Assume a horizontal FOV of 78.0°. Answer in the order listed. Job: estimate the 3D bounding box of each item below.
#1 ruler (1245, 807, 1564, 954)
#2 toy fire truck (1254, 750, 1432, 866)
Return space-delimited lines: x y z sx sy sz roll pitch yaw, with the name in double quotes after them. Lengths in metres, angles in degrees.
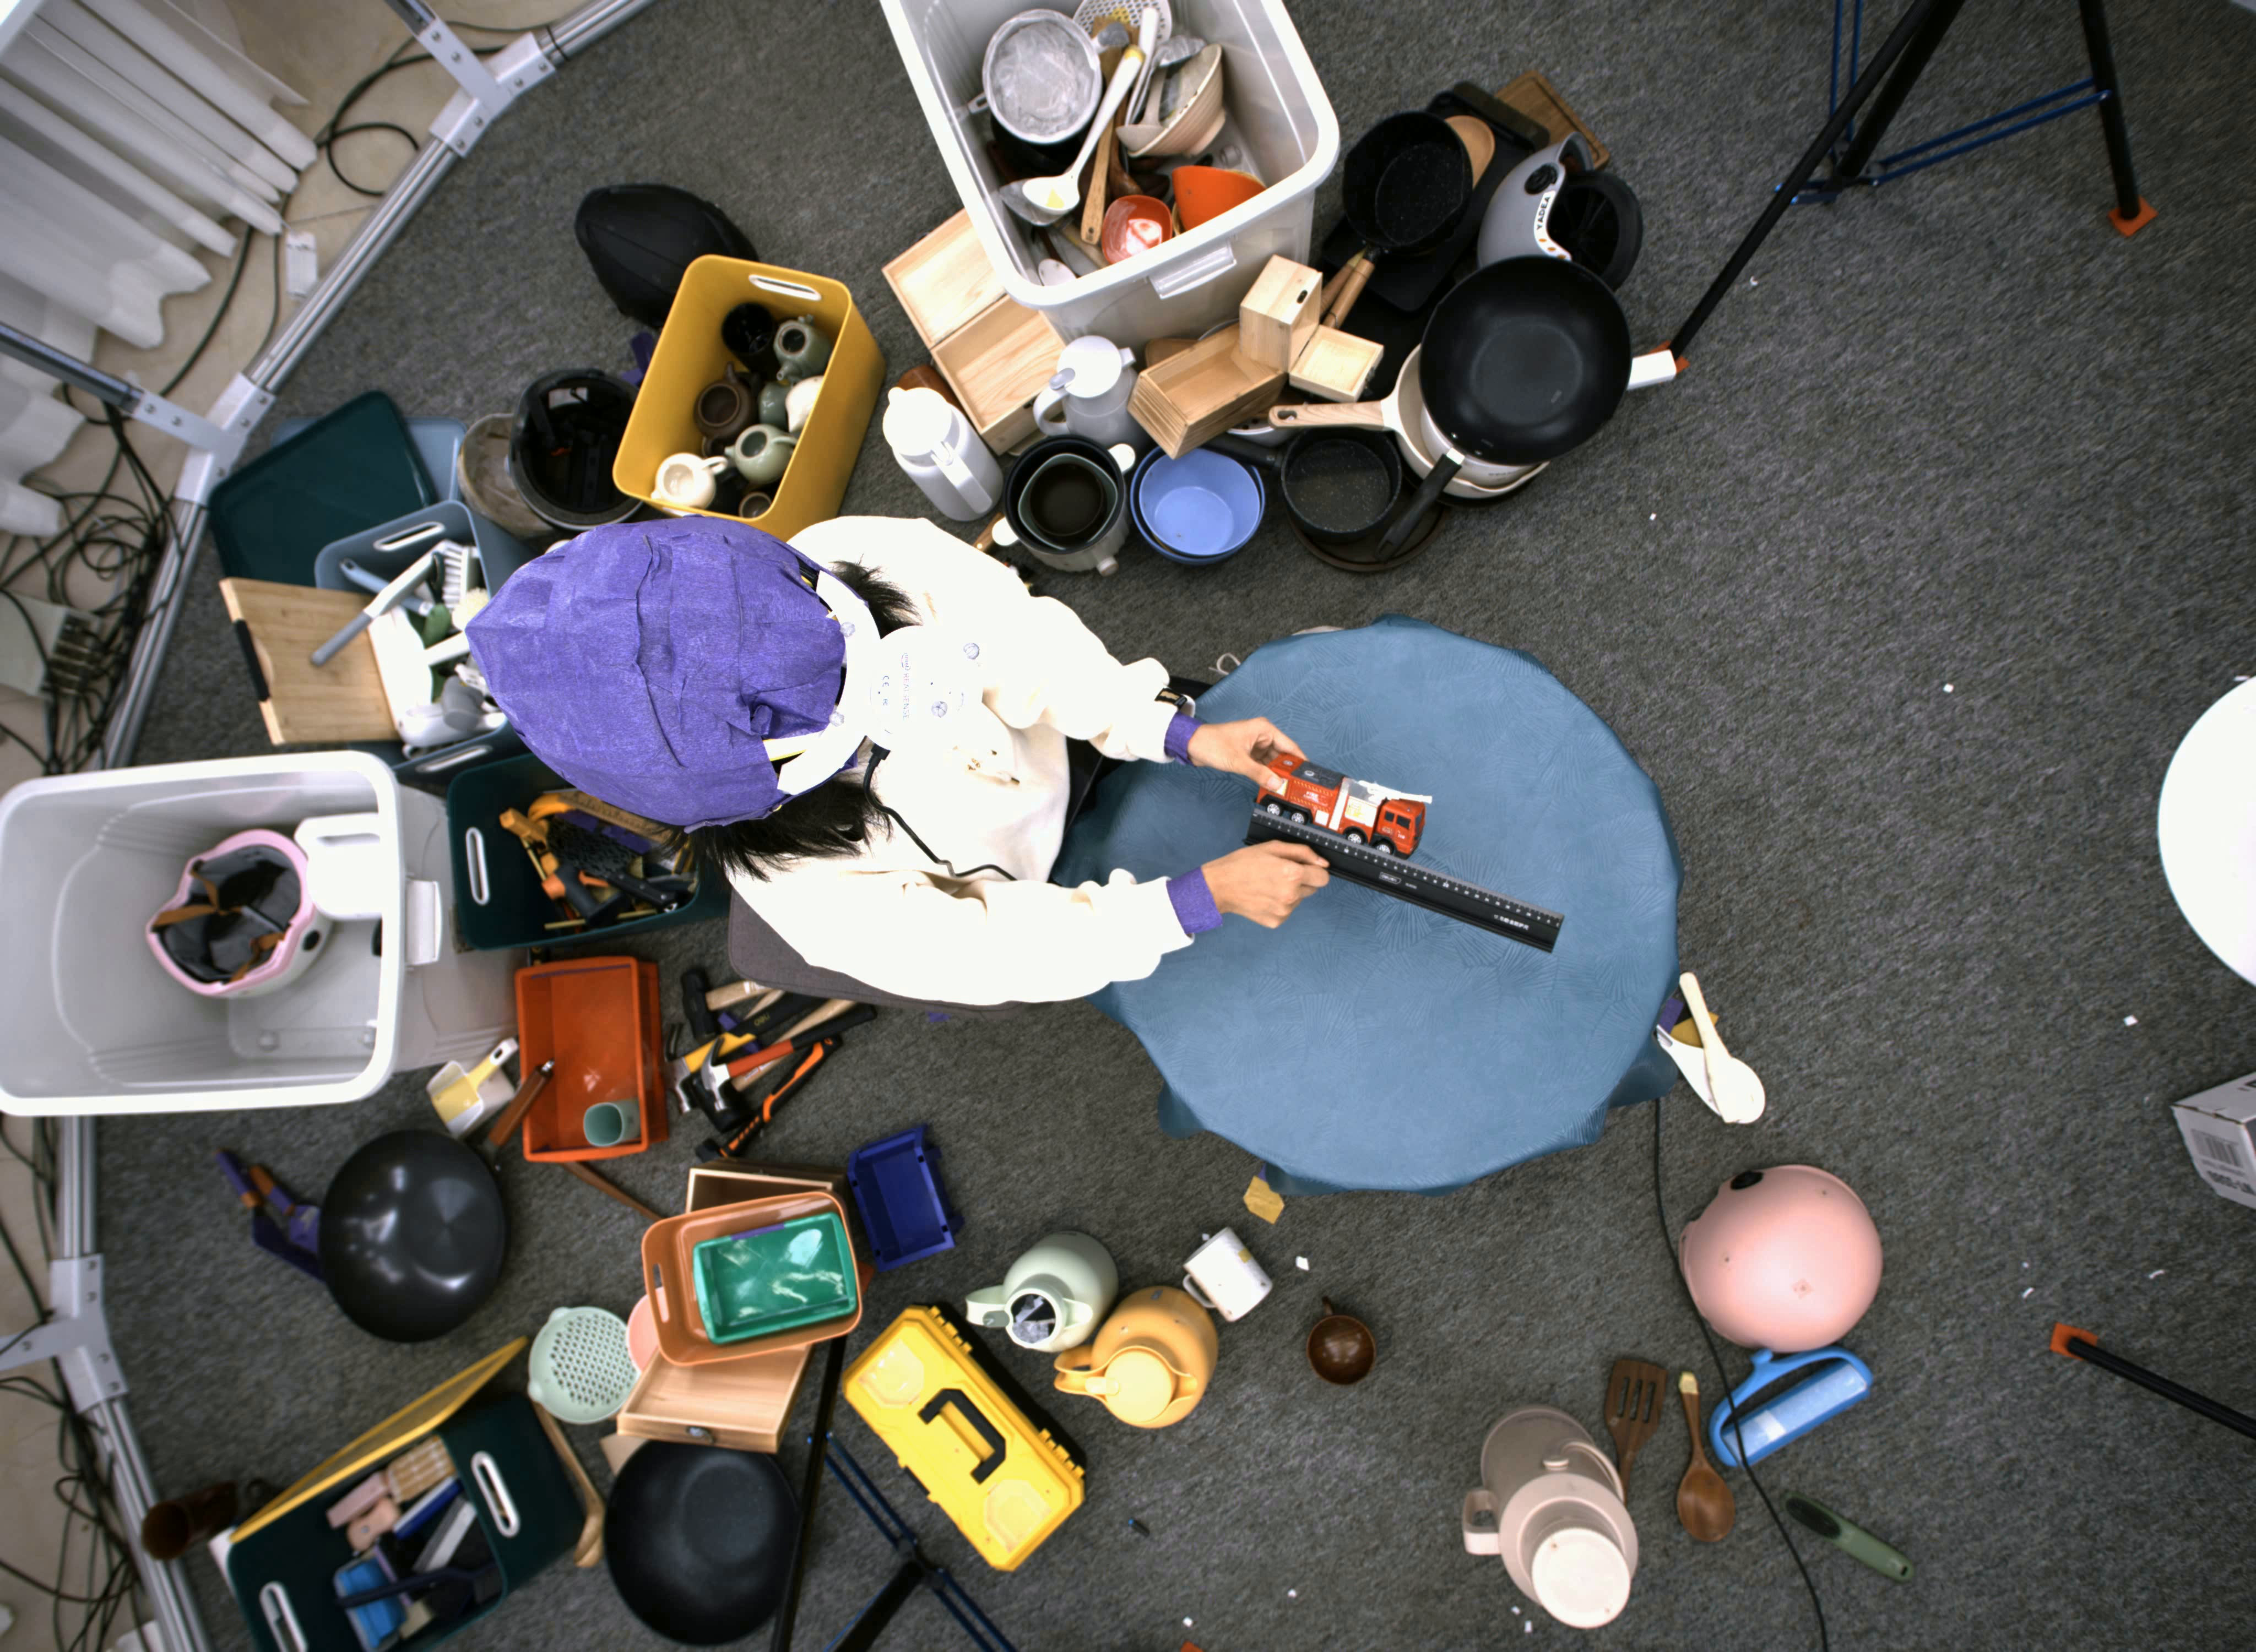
0.257 0.049 1.308 0.312 0.017 0.040 21 111 19 "ruler"
0.208 -0.021 1.339 0.168 0.053 0.072 20 122 21 "toy fire truck"
